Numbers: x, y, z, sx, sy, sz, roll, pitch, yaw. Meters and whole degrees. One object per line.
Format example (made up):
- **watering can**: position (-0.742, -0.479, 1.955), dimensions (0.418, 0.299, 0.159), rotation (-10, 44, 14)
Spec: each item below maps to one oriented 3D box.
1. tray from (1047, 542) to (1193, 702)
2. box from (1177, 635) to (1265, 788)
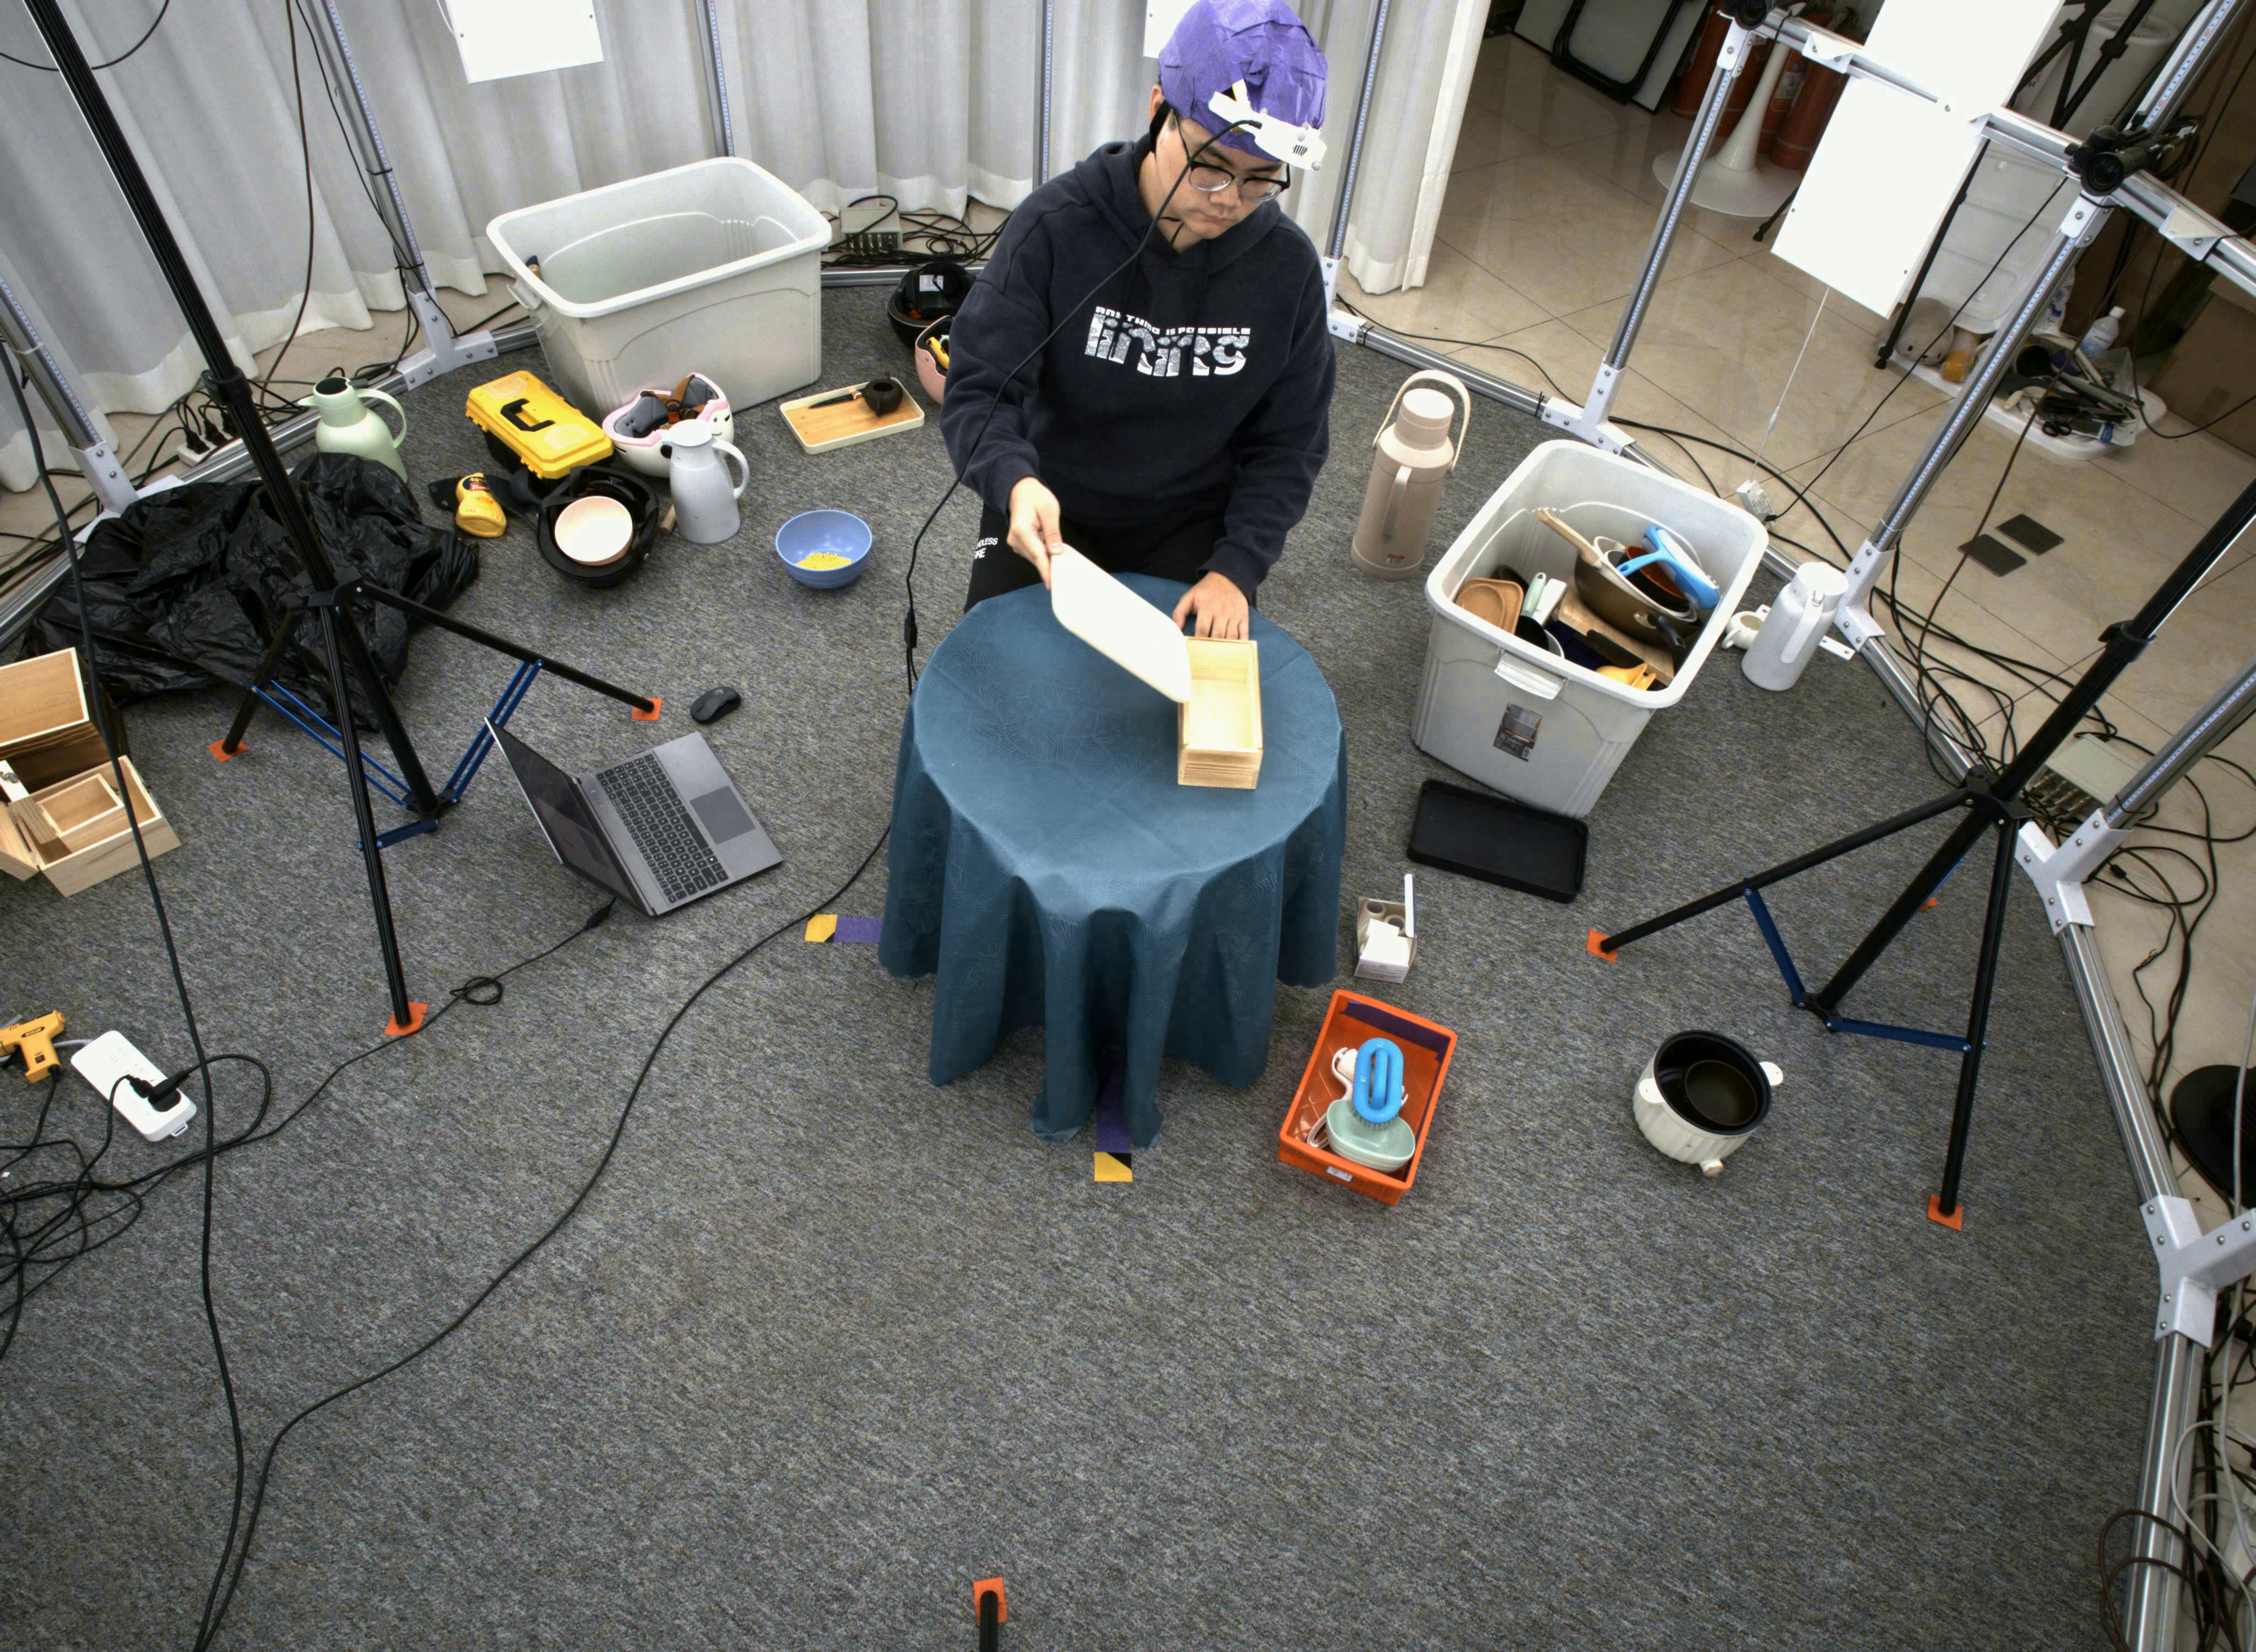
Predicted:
- **tray**: position (-0.012, -0.260, 1.661), dimensions (0.236, 0.017, 0.175), rotation (30, 35, -30)
- **box**: position (0.125, -0.159, 1.762), dimensions (0.107, 0.078, 0.217), rotation (3, 49, -2)
